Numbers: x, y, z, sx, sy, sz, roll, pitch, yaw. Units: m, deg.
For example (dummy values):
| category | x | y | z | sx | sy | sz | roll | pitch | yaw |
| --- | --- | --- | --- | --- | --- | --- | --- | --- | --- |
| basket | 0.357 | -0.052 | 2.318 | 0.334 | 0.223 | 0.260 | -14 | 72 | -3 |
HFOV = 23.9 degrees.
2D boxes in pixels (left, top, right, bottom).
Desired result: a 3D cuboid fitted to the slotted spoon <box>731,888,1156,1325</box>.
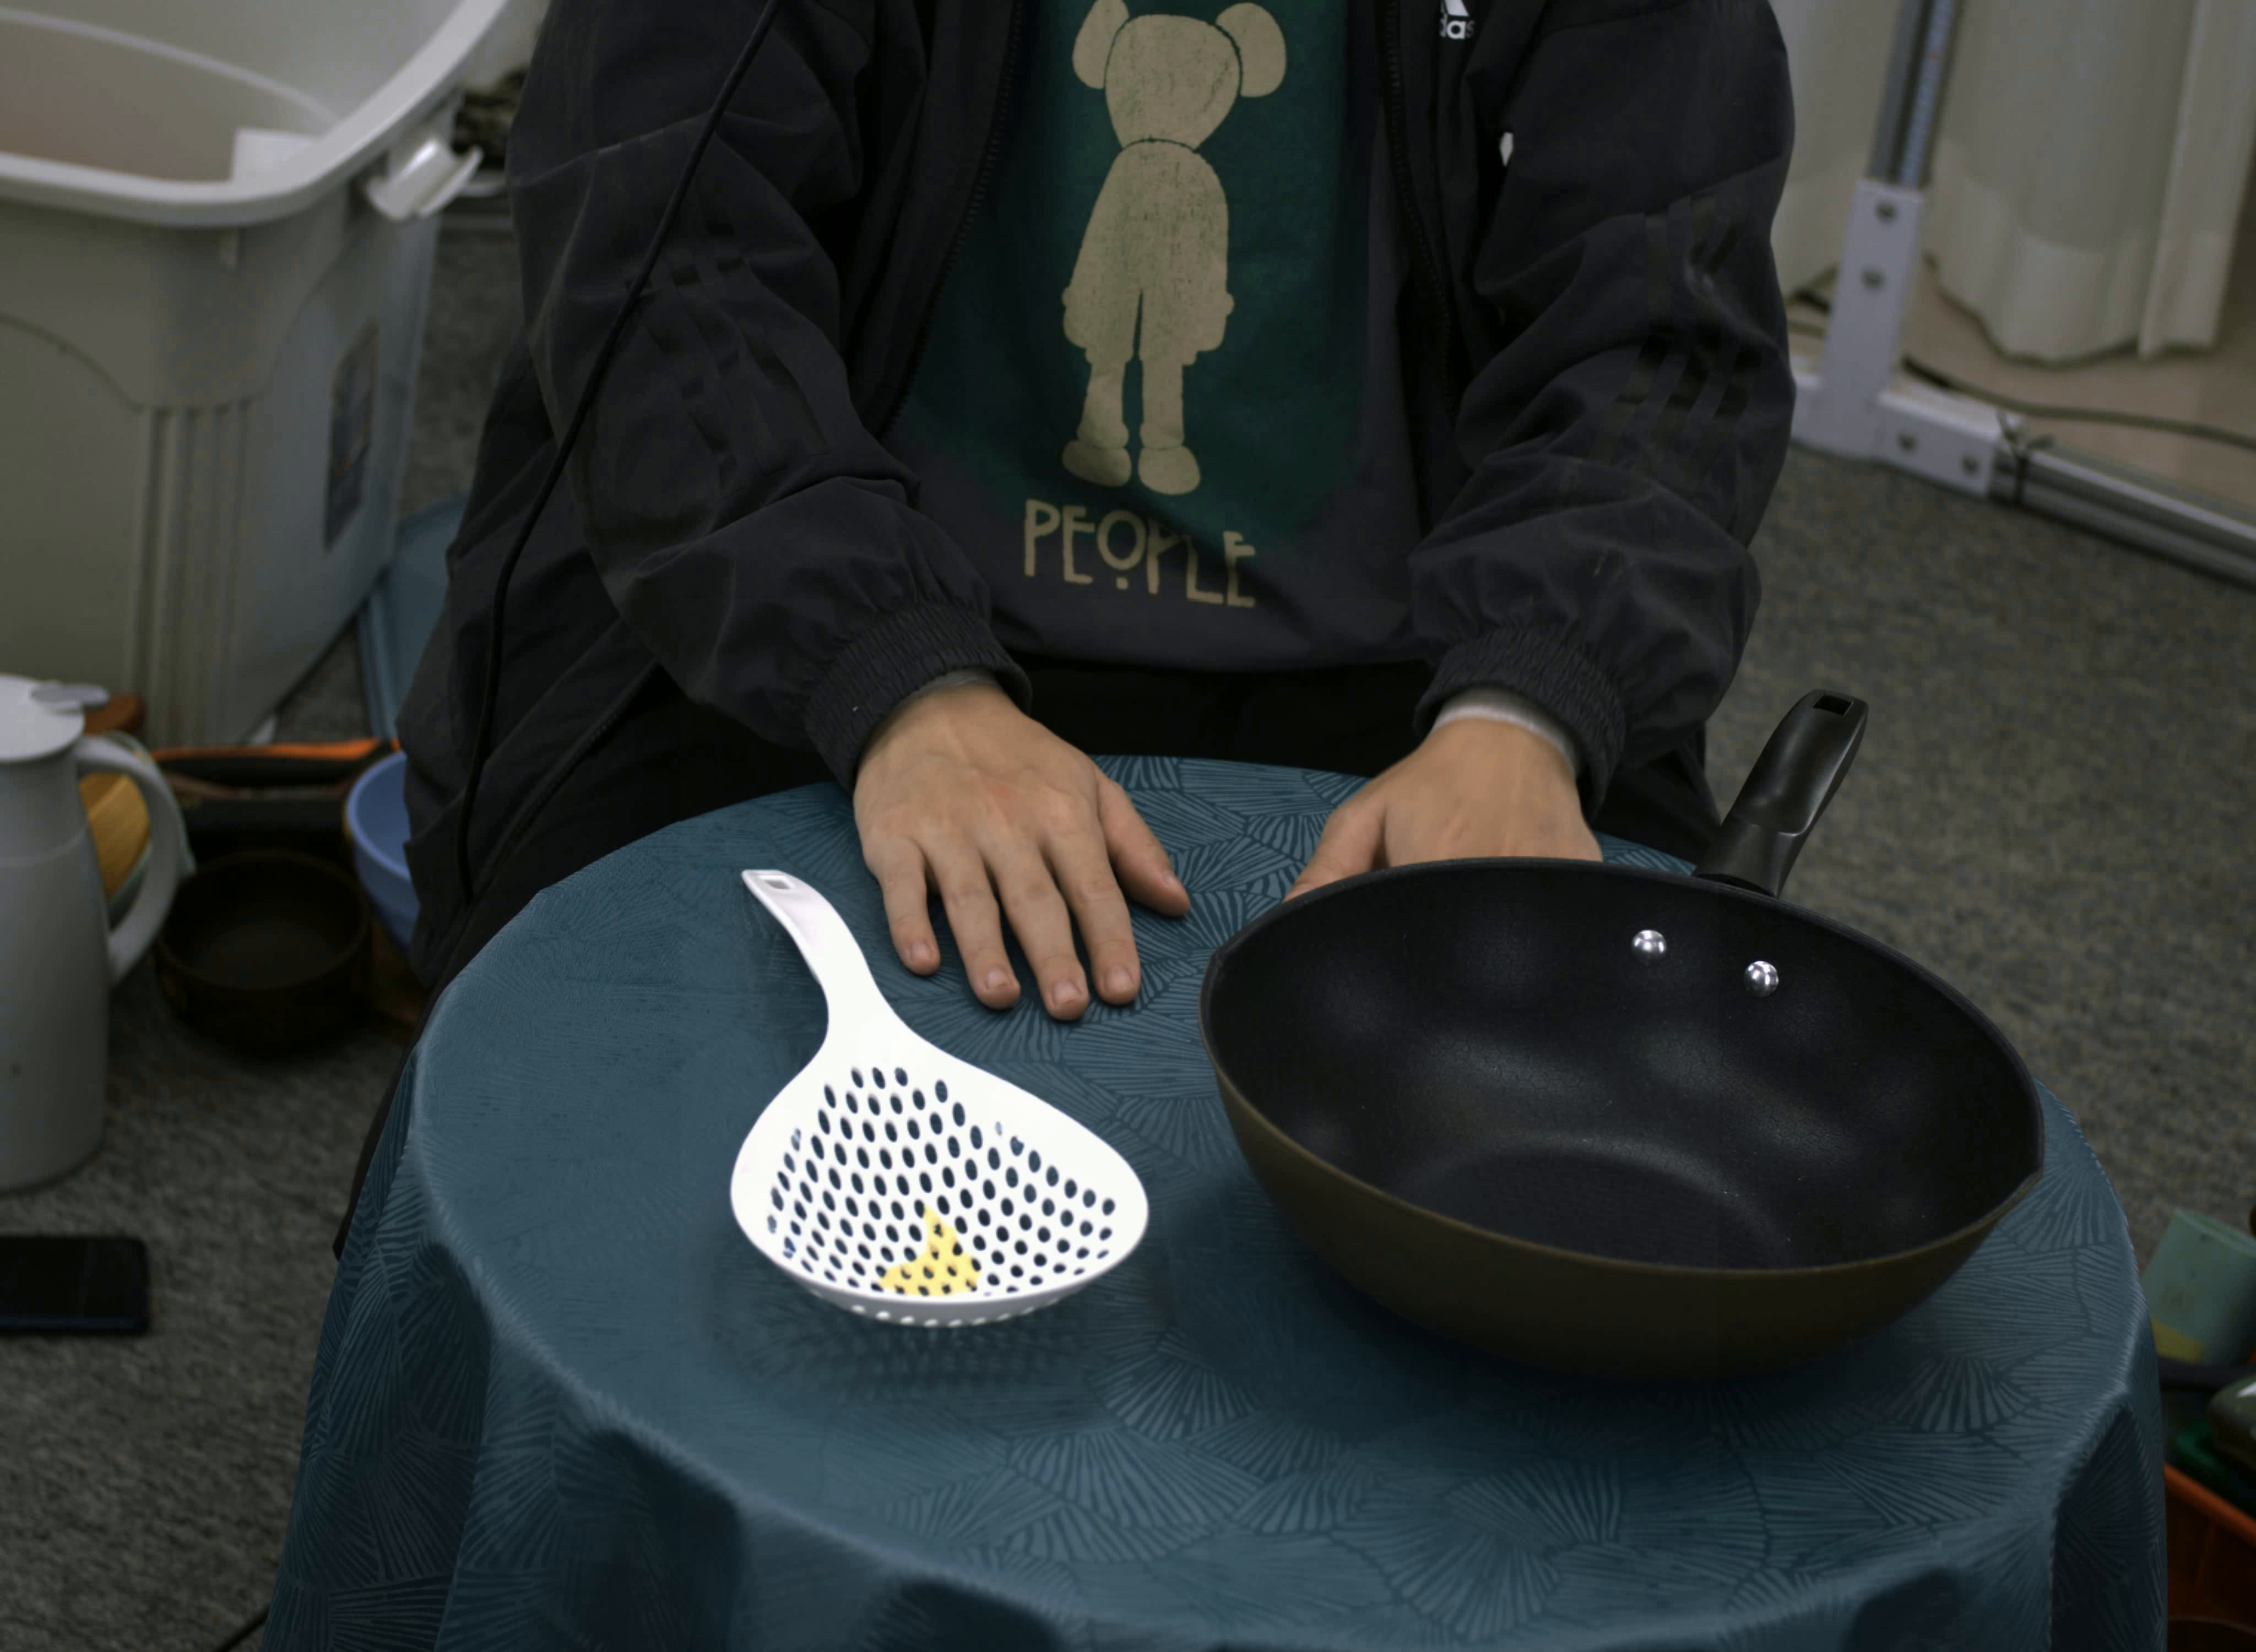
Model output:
| category | x | y | z | sx | sy | sz | roll | pitch | yaw |
| --- | --- | --- | --- | --- | --- | --- | --- | --- | --- |
| slotted spoon | -0.088 | 0.083 | 1.820 | 0.136 | 0.050 | 0.351 | -4 | 29 | -14 |

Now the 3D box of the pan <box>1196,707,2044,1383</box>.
| category | x | y | z | sx | sy | sz | roll | pitch | yaw |
| --- | --- | --- | --- | --- | --- | --- | --- | --- | --- |
| pan | 0.189 | 0.073 | 1.857 | 0.288 | 0.086 | 0.463 | 15 | 27 | 15 |
